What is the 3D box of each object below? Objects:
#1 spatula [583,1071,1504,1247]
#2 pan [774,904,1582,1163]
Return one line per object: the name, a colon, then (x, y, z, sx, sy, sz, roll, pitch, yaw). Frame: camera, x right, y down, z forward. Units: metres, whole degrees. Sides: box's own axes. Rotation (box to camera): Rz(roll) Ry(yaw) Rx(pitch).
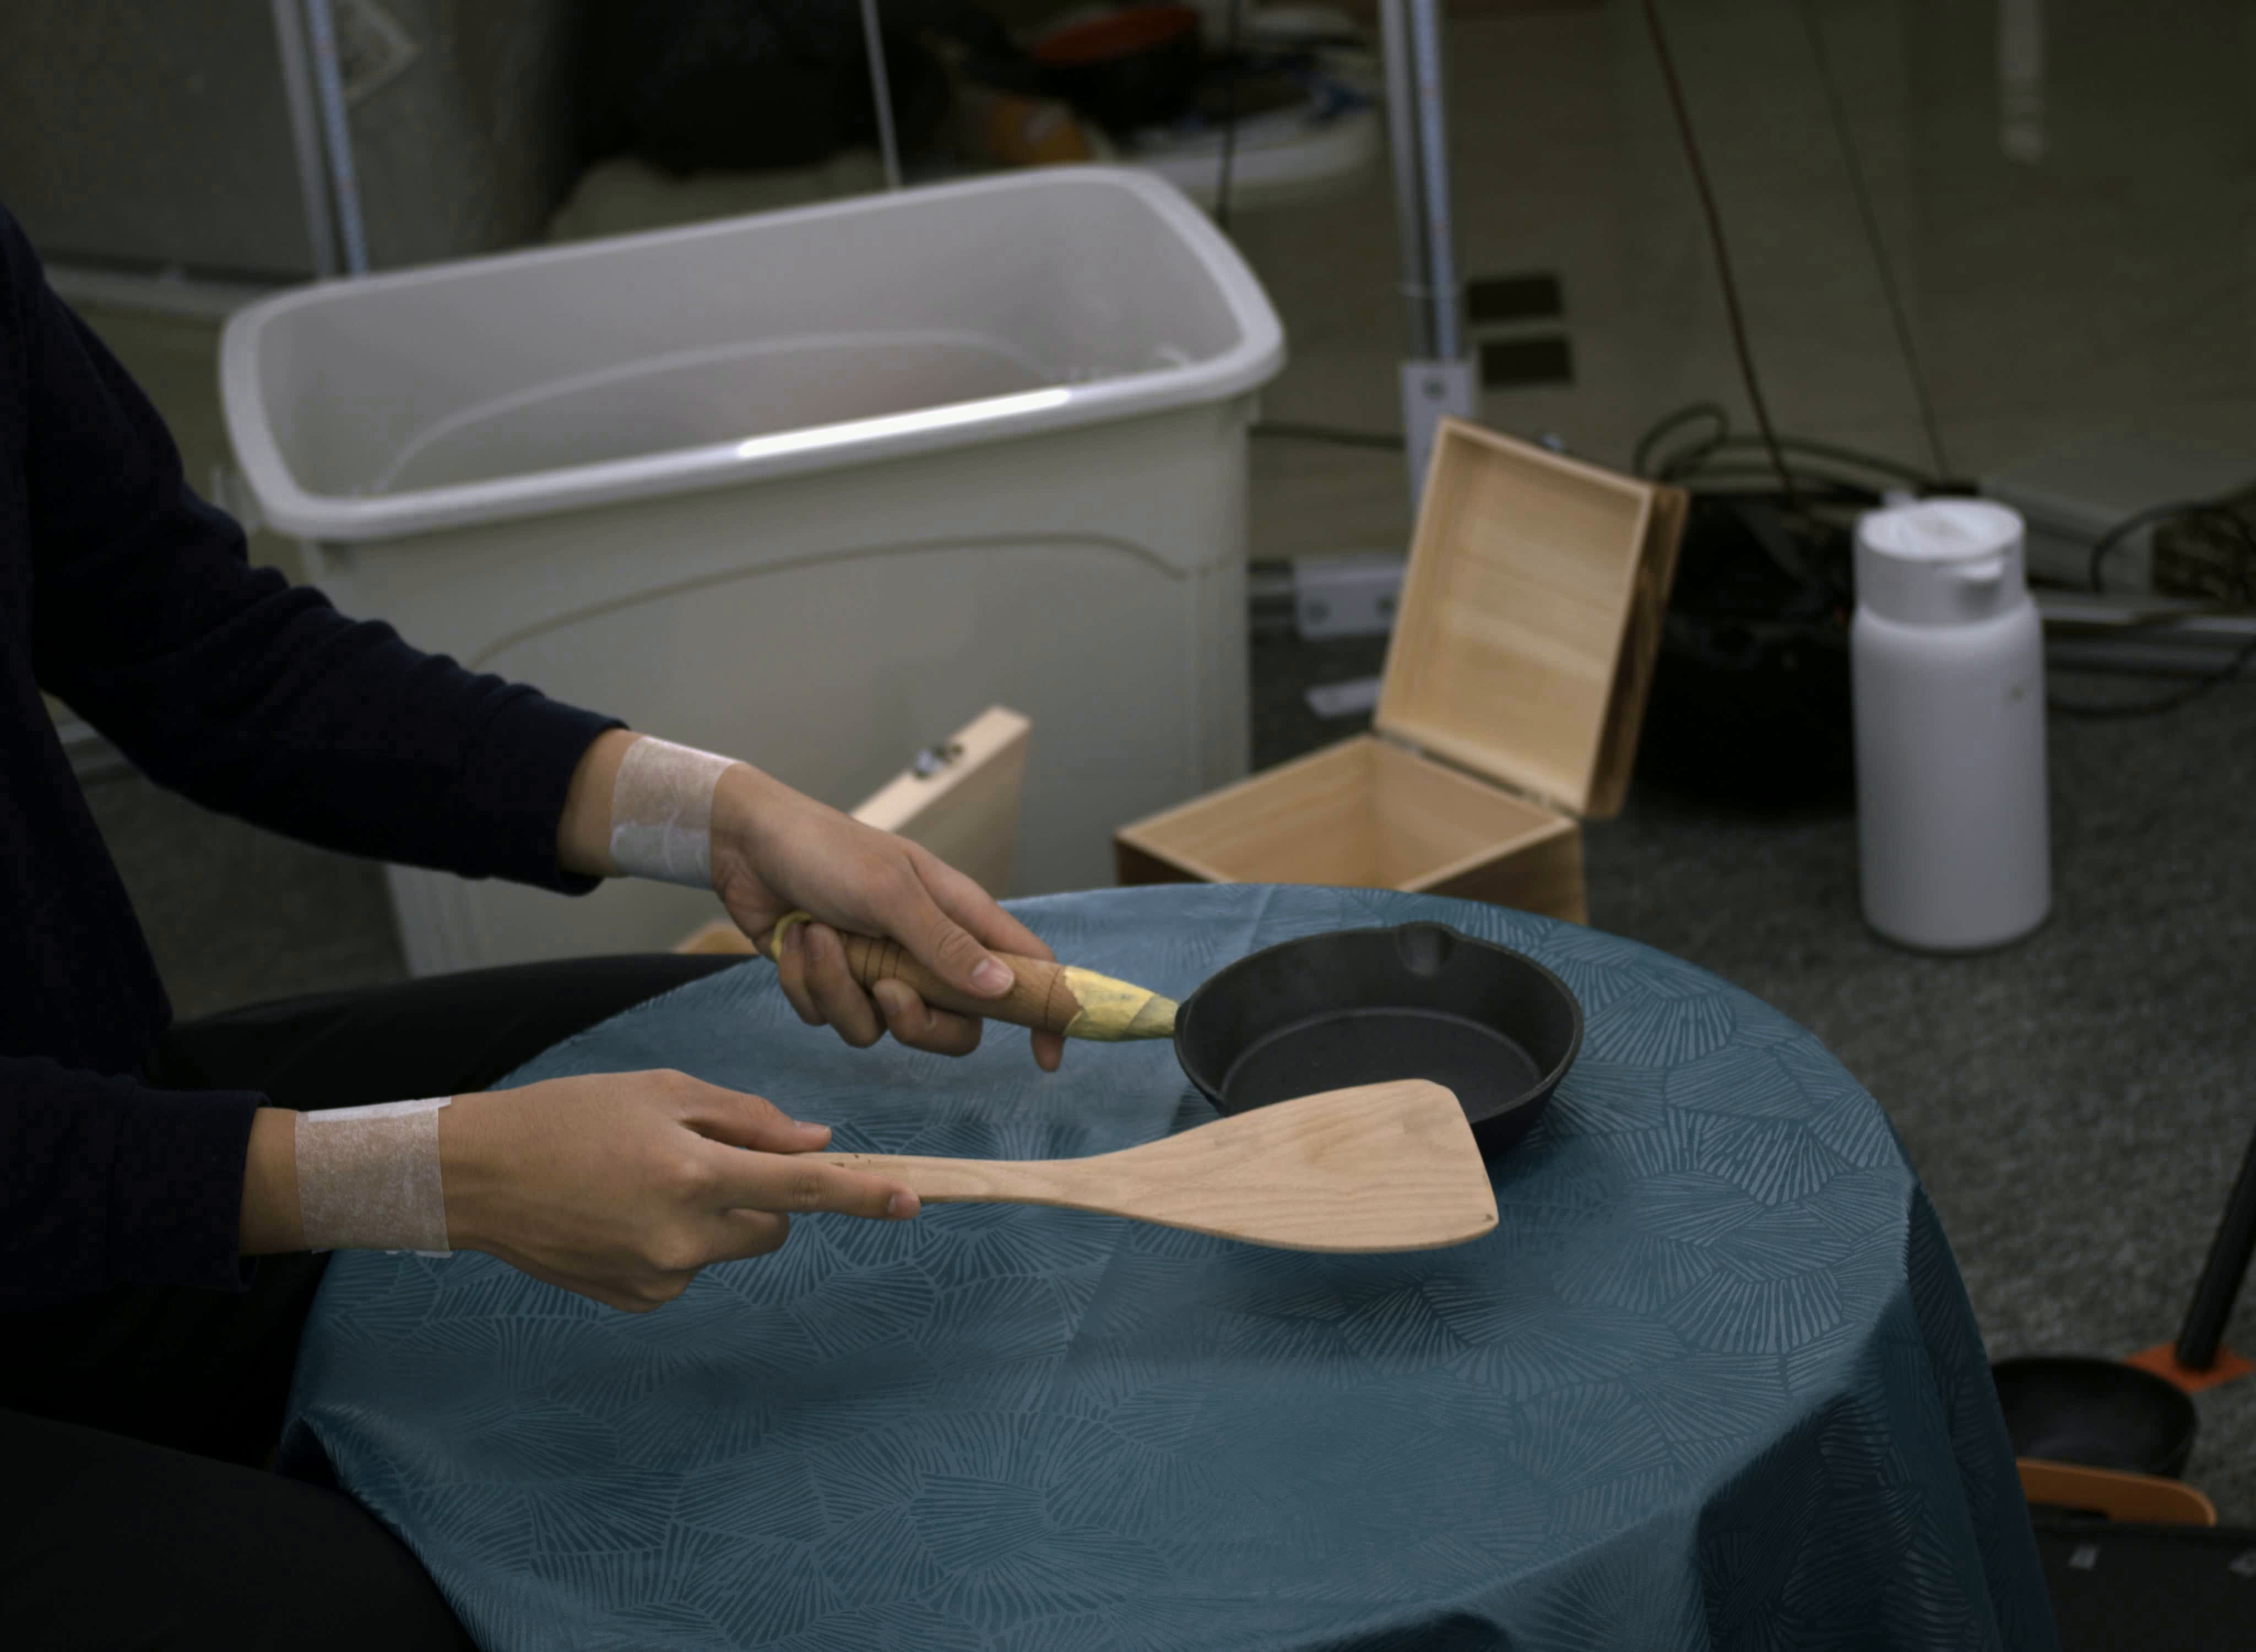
spatula: (-0.031, 0.122, 2.031, 0.327, 0.017, 0.078, -1, 47, -3)
pan: (0.016, 0.074, 2.197, 0.323, 0.050, 0.166, 8, 31, 17)
